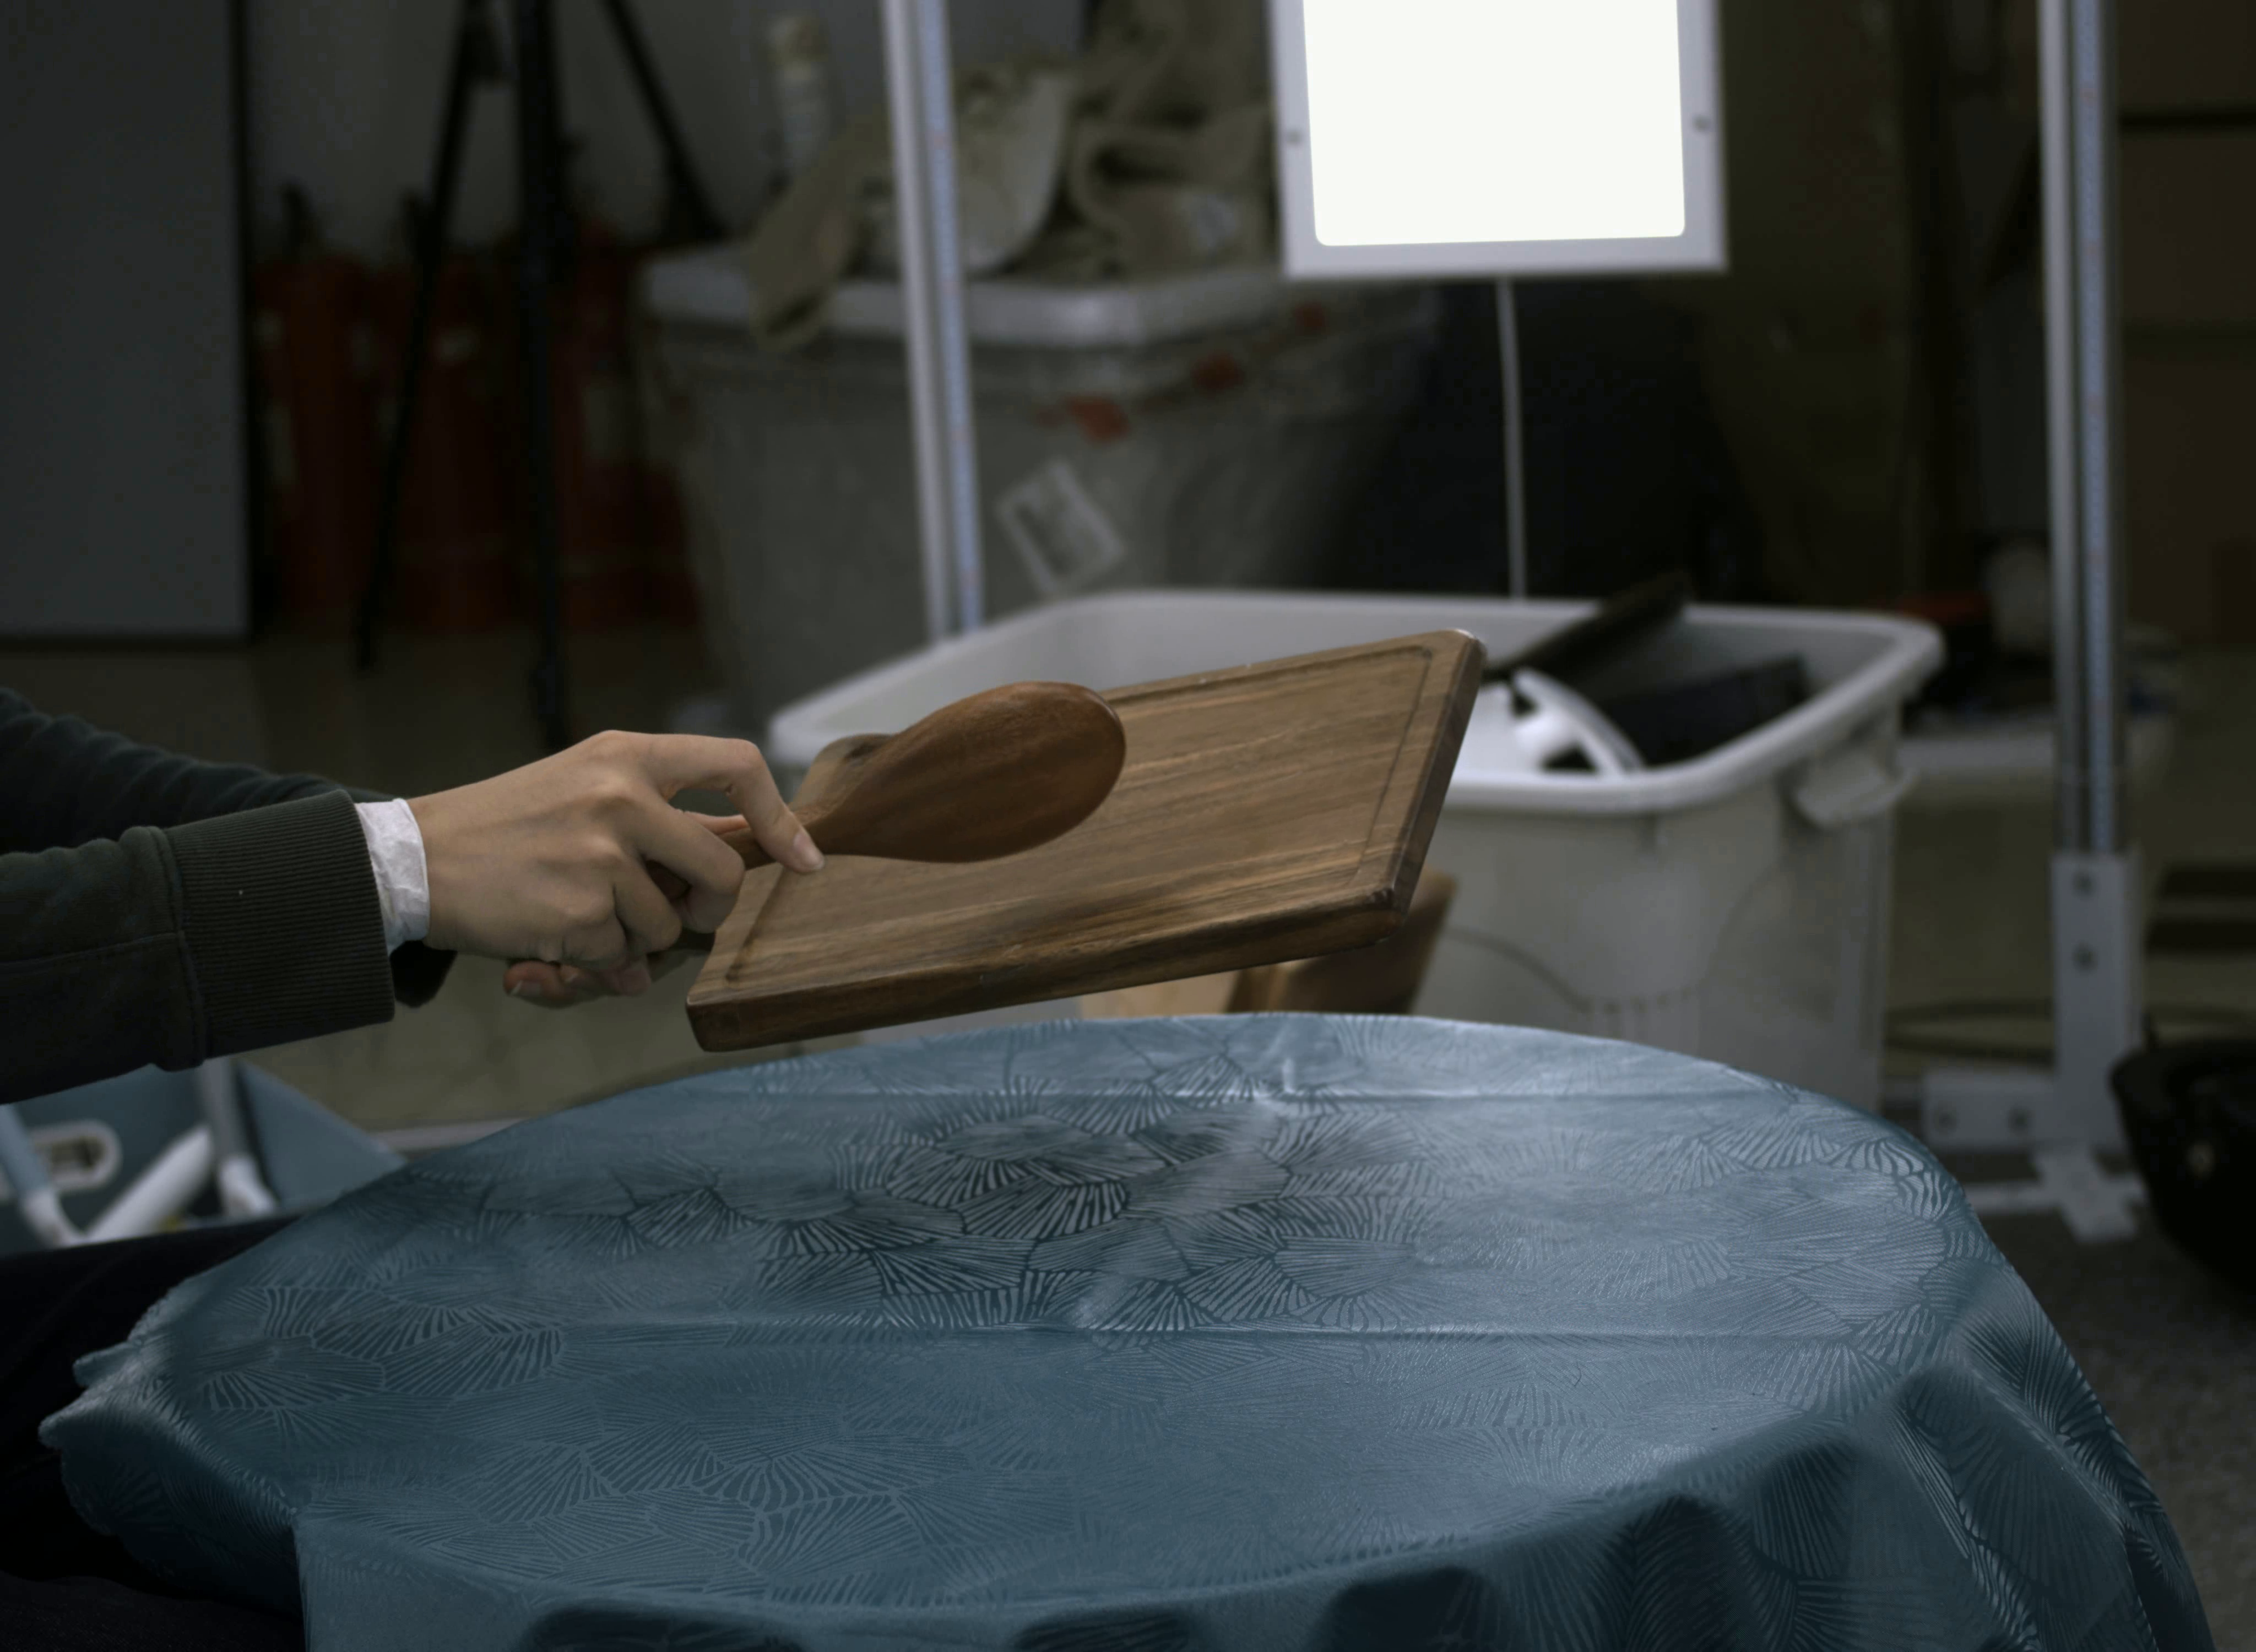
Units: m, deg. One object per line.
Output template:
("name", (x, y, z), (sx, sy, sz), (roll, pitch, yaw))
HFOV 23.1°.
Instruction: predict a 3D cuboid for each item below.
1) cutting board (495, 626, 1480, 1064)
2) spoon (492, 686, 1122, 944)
("cutting board", (-0.057, 0.013, 1.903), (0.357, 0.023, 0.198), (-10, 27, 20))
("spoon", (-0.103, 0.002, 1.802), (0.214, 0.075, 0.017), (-15, 51, -6))
